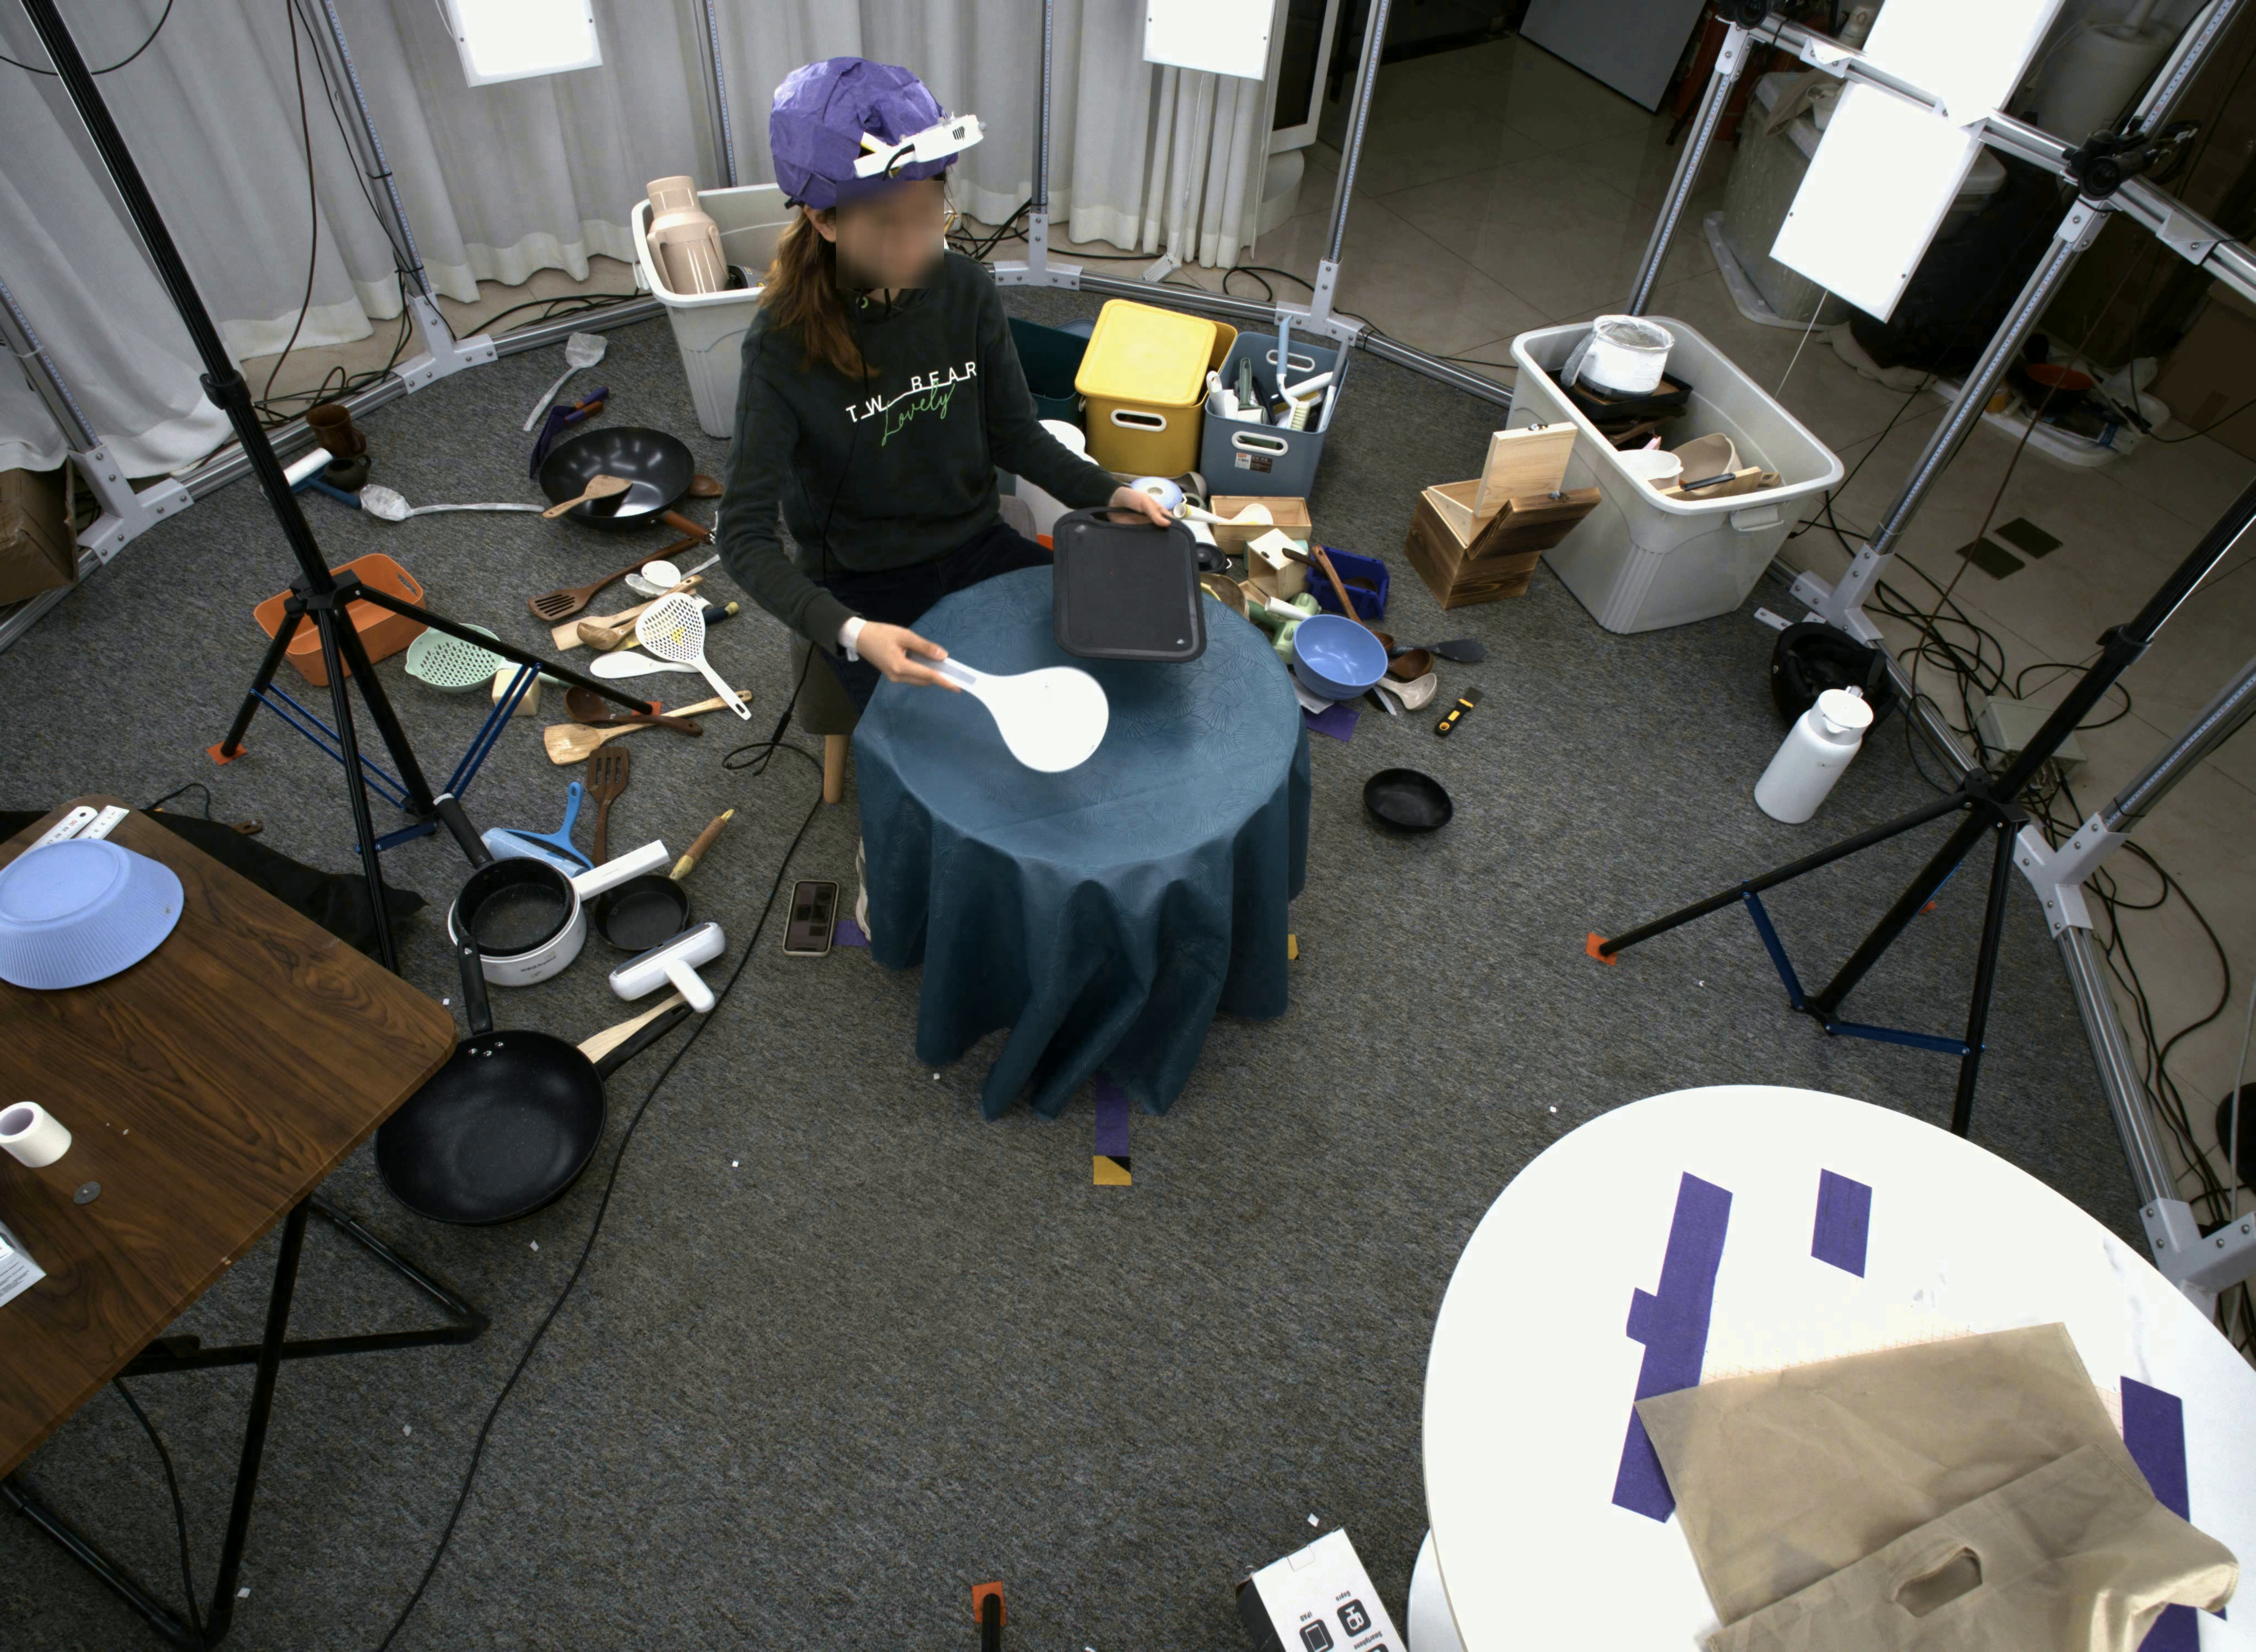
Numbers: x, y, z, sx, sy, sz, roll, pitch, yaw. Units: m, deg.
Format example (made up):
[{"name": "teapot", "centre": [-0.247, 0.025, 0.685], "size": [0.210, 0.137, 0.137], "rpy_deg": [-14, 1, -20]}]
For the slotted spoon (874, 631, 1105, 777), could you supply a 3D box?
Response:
[{"name": "slotted spoon", "centre": [-0.188, -0.174, 1.694], "size": [0.352, 0.045, 0.137], "rpy_deg": [28, 80, 13]}]

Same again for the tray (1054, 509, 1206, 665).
[{"name": "tray", "centre": [0.001, -0.350, 1.838], "size": [0.211, 0.009, 0.333], "rpy_deg": [3, 50, -5]}]
